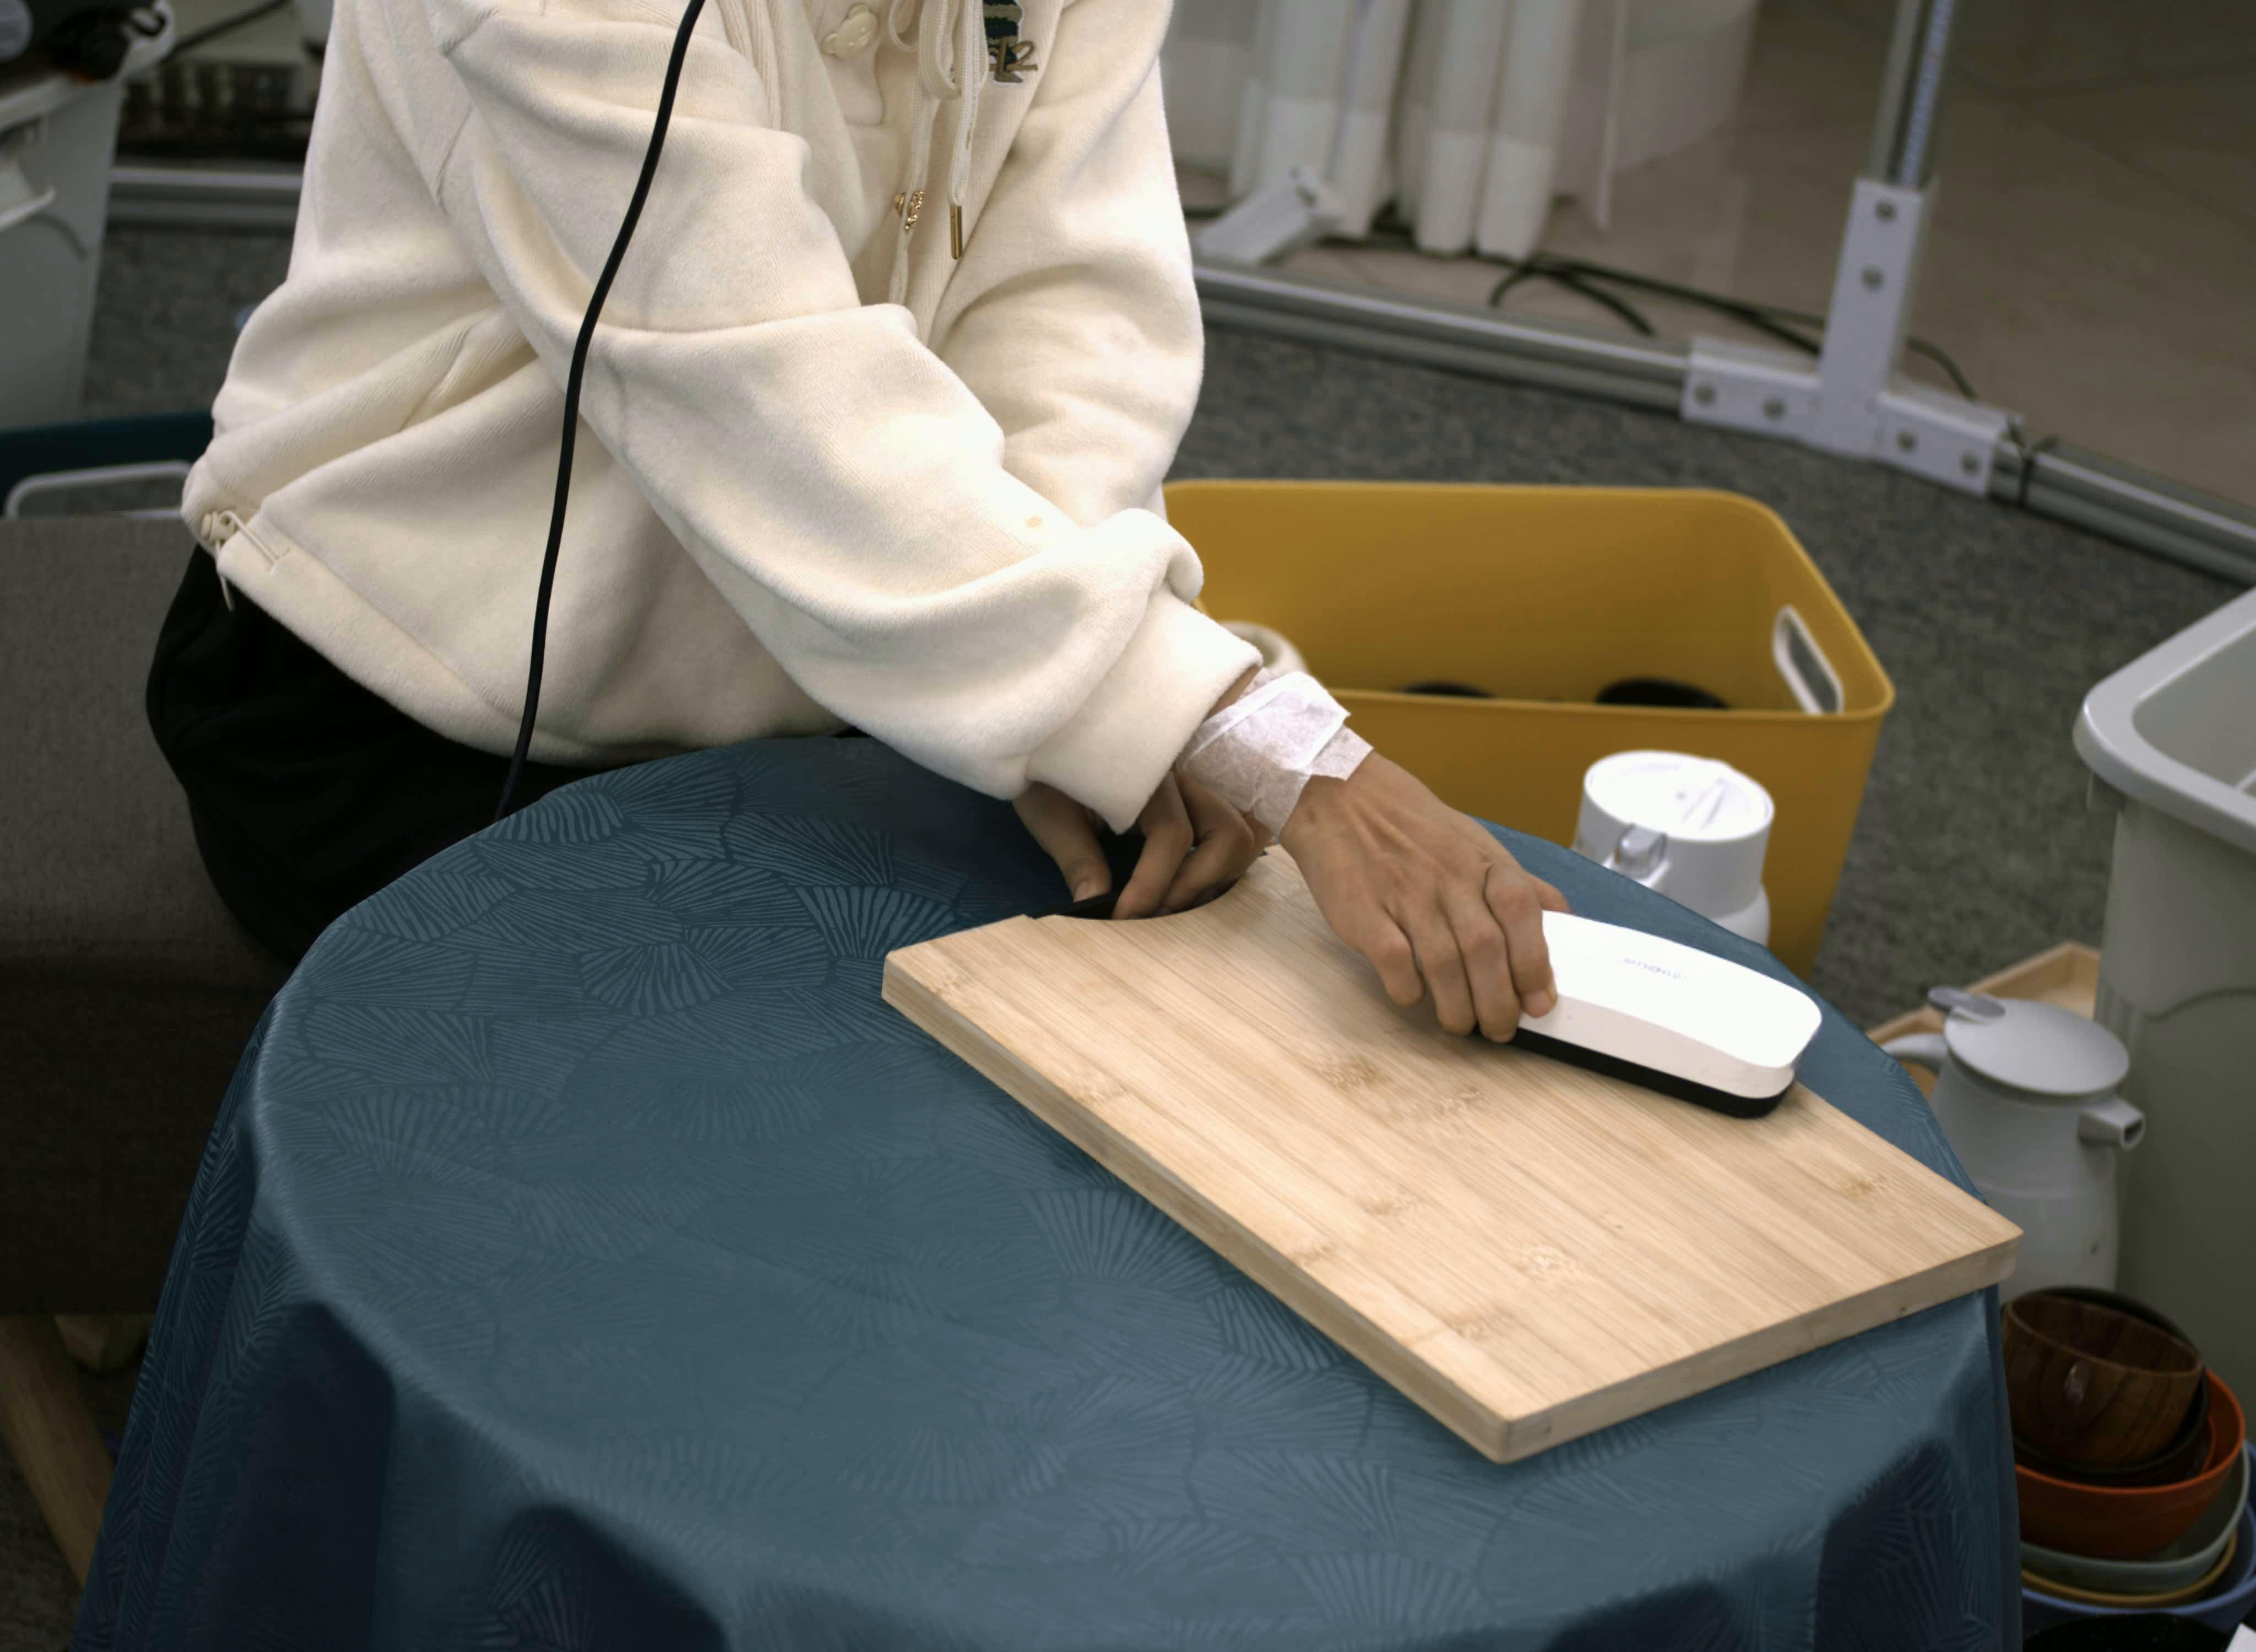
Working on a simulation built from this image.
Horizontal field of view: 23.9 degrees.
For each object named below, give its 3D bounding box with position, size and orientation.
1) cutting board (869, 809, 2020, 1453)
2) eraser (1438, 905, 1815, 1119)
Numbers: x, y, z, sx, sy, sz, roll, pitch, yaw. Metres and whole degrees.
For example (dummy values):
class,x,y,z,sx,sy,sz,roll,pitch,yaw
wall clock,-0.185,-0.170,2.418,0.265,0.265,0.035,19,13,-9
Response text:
class,x,y,z,sx,sy,sz,roll,pitch,yaw
cutting board,0.105,0.098,1.859,0.249,0.023,0.351,-15,34,-36
eraser,0.176,0.063,1.888,0.132,0.034,0.063,19,29,21
